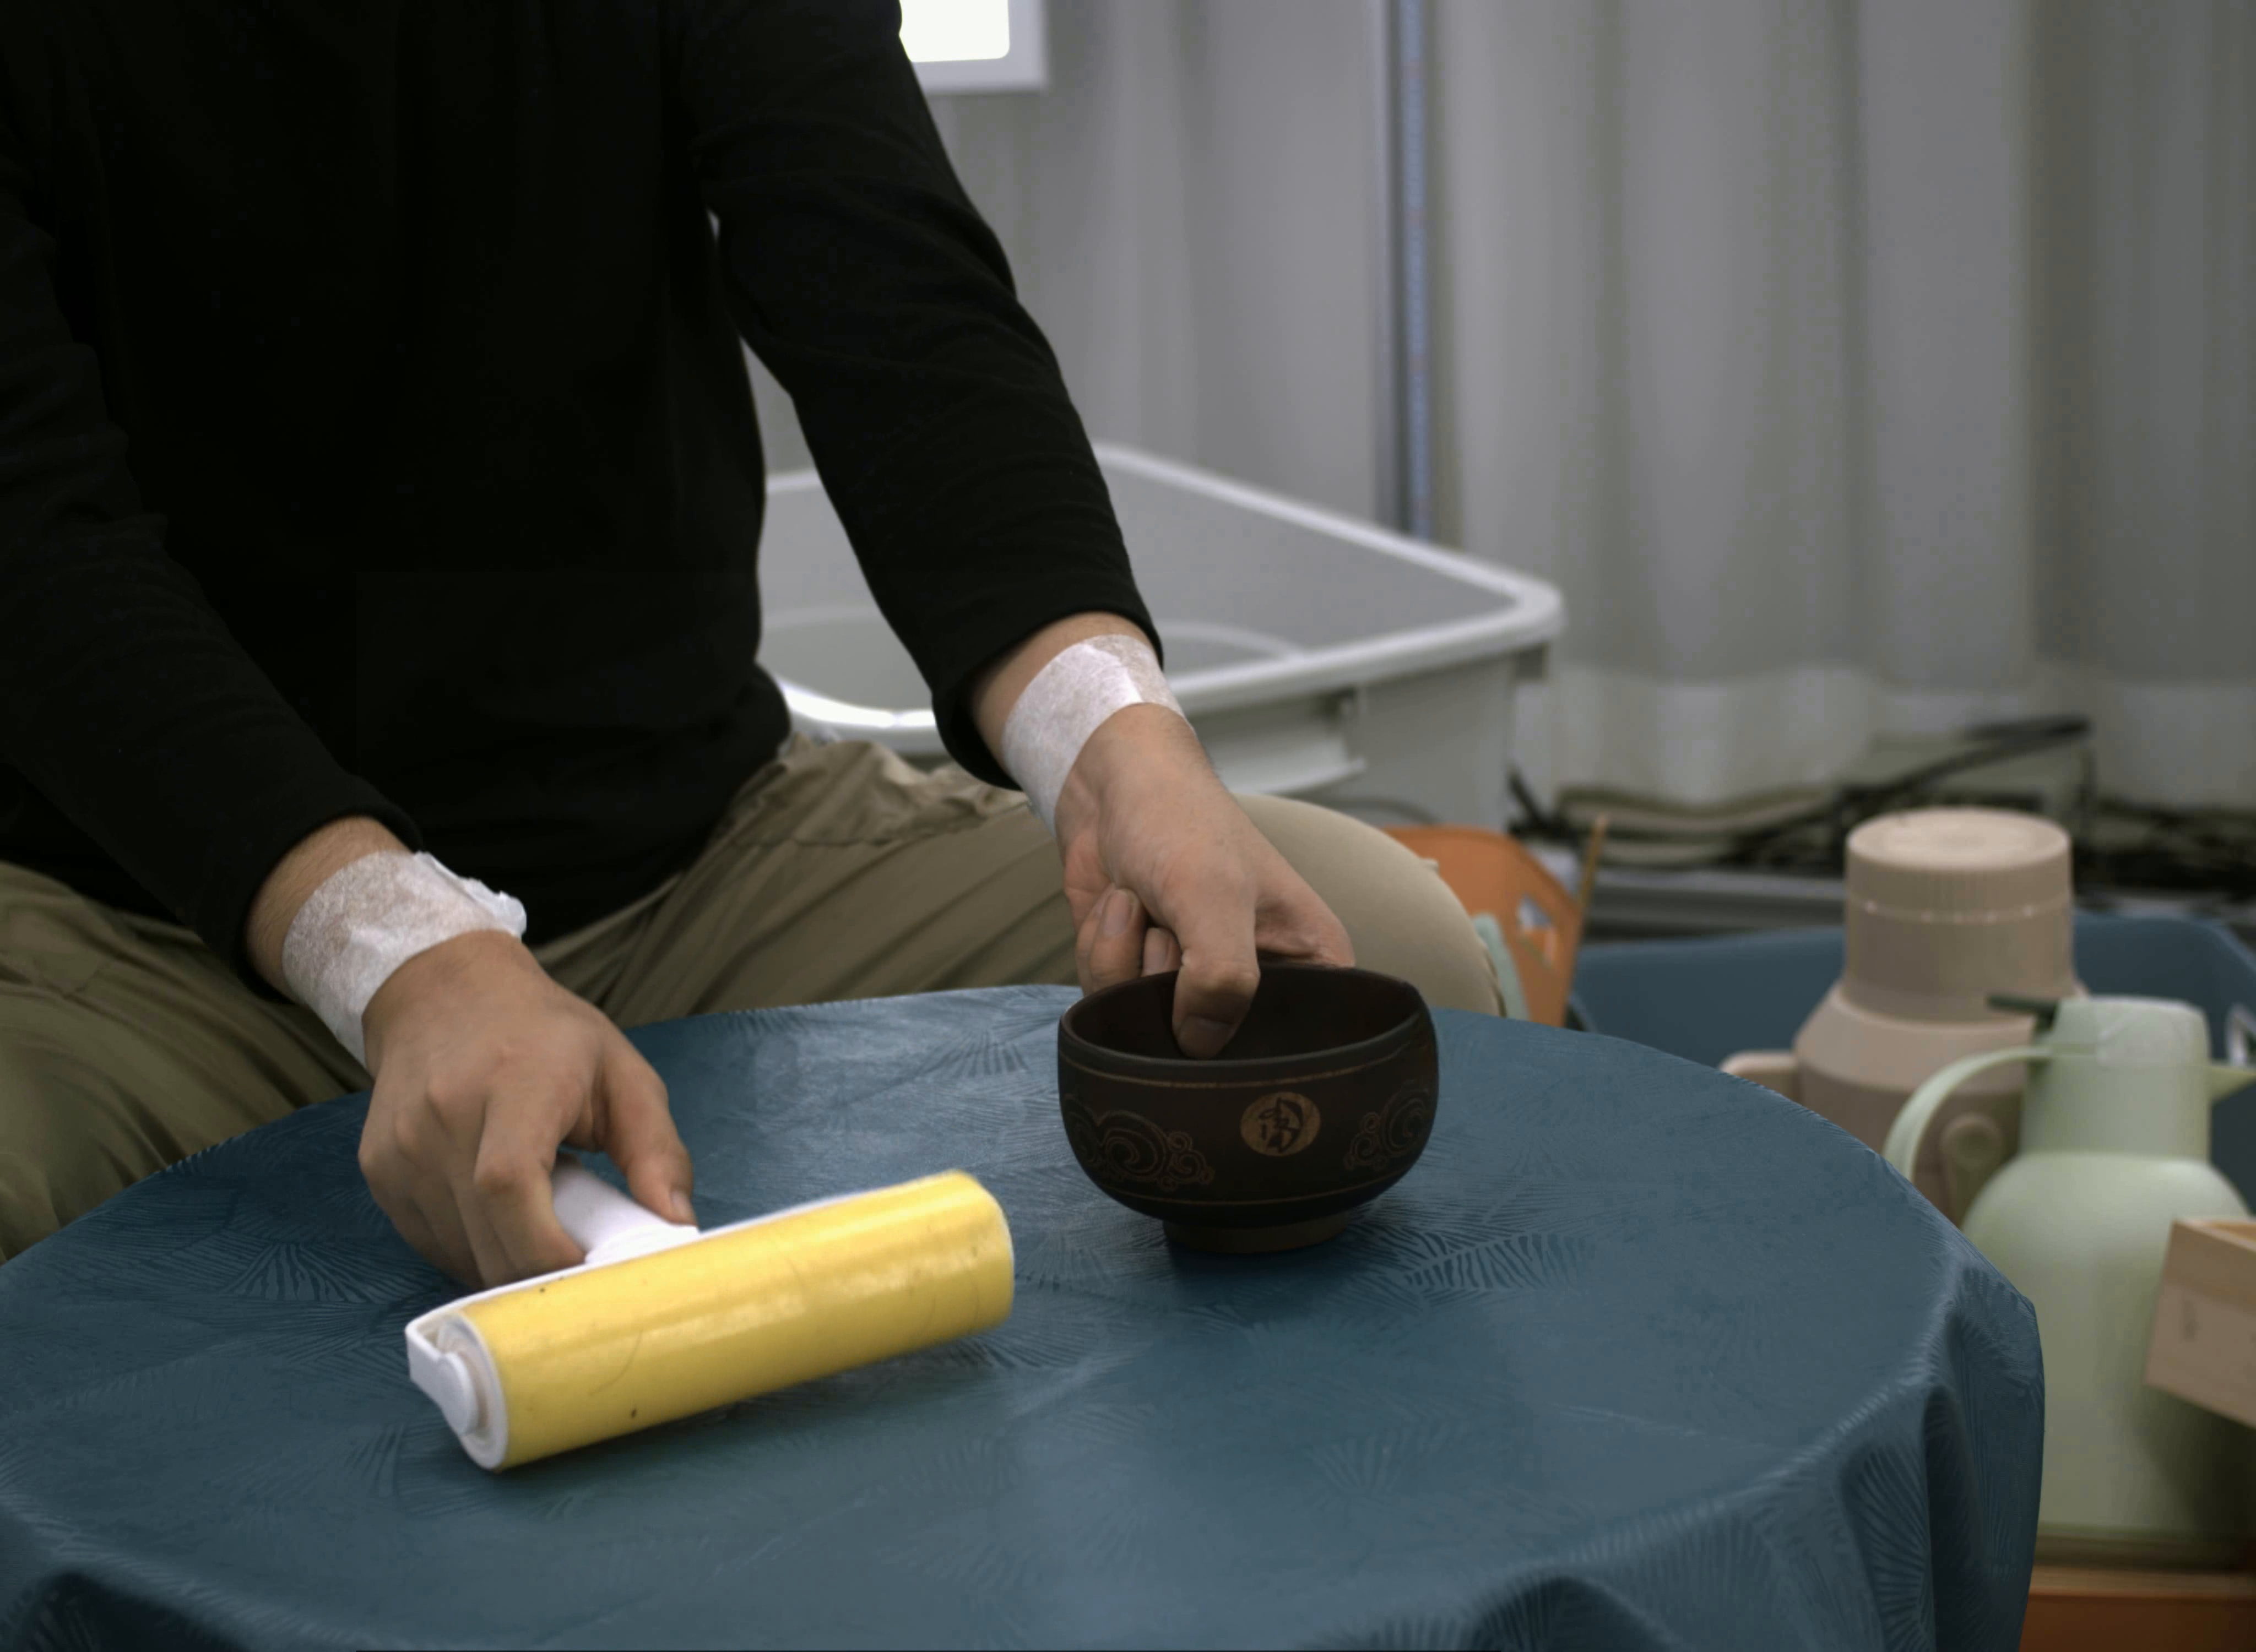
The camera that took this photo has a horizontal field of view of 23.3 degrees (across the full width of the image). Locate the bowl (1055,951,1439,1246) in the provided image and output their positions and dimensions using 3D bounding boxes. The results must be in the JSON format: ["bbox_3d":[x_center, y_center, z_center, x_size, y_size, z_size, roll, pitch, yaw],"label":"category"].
[{"bbox_3d":[0.037,0.086,1.666,0.117,0.069,0.119,-2,13,0],"label":"bowl"}]

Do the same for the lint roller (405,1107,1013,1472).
[{"bbox_3d":[-0.152,0.111,1.596,0.174,0.051,0.194,-15,32,-29],"label":"lint roller"}]
